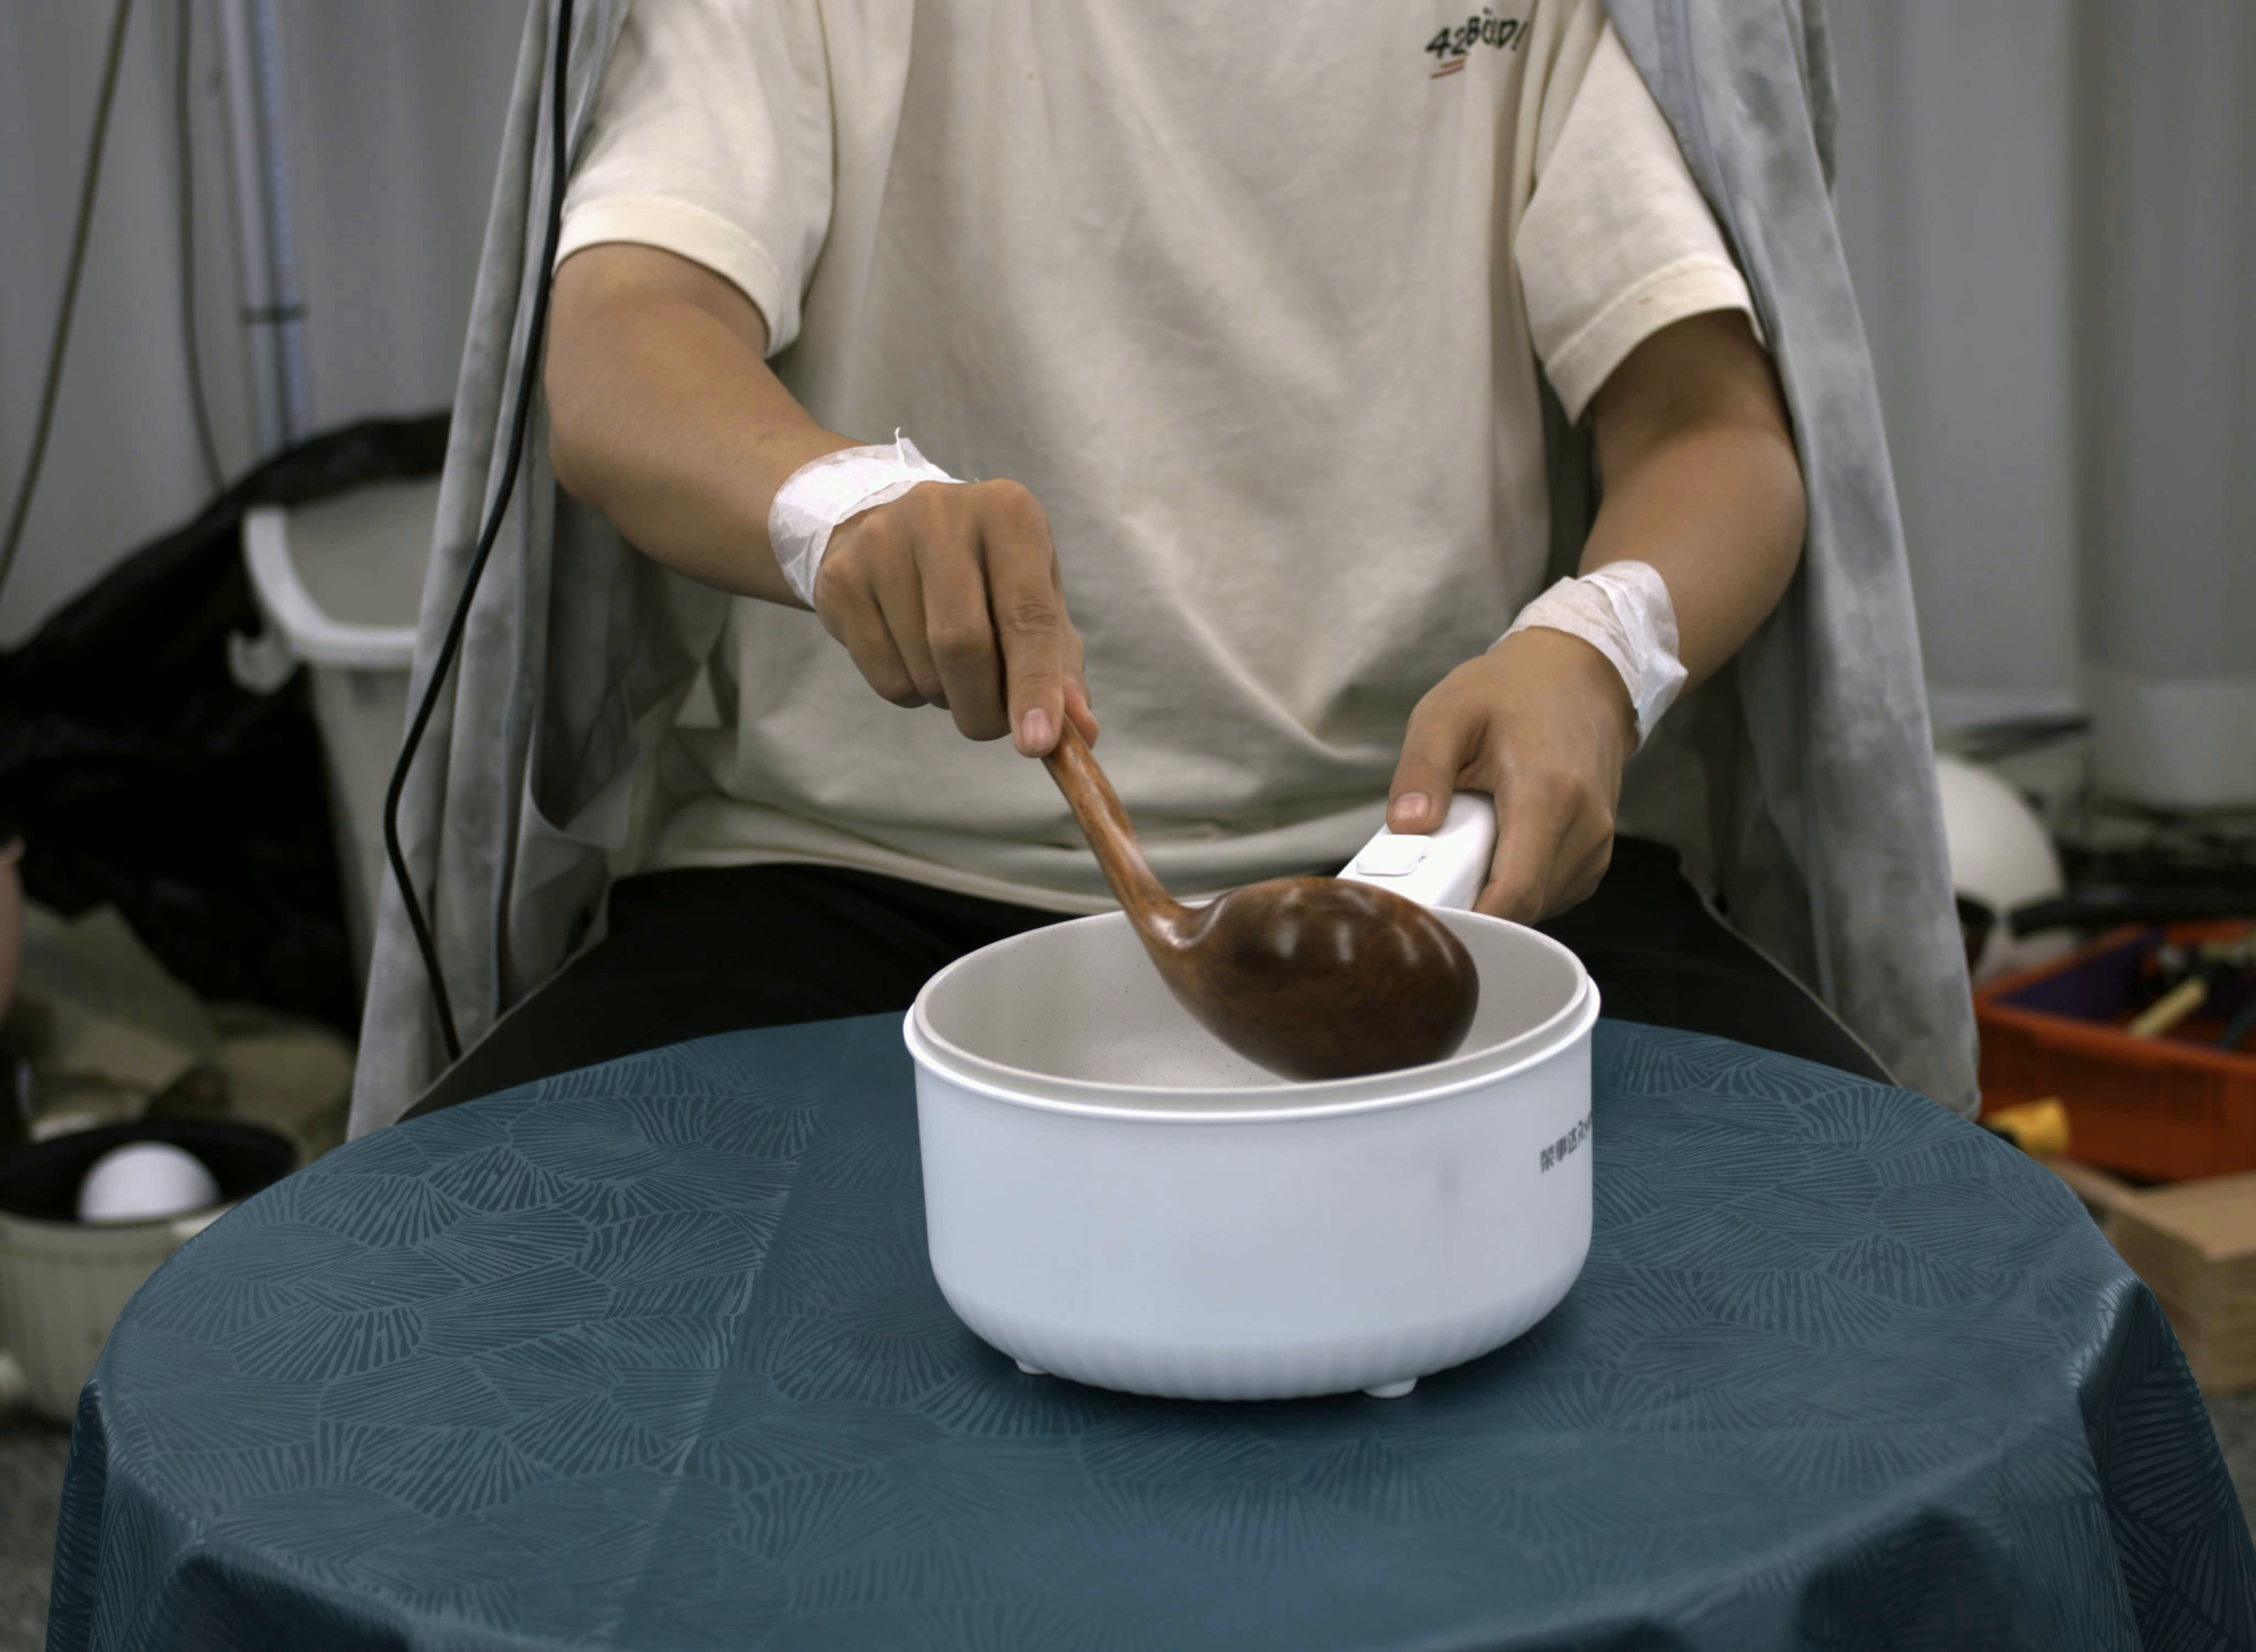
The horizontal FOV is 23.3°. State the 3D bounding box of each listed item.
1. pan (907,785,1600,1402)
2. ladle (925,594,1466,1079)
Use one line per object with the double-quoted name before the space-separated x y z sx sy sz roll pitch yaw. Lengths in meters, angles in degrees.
"pan" 0.062 0.076 1.660 0.201 0.102 0.356 1 15 19
"ladle" 0.017 -0.012 1.612 0.076 0.081 0.278 -25 37 -7
